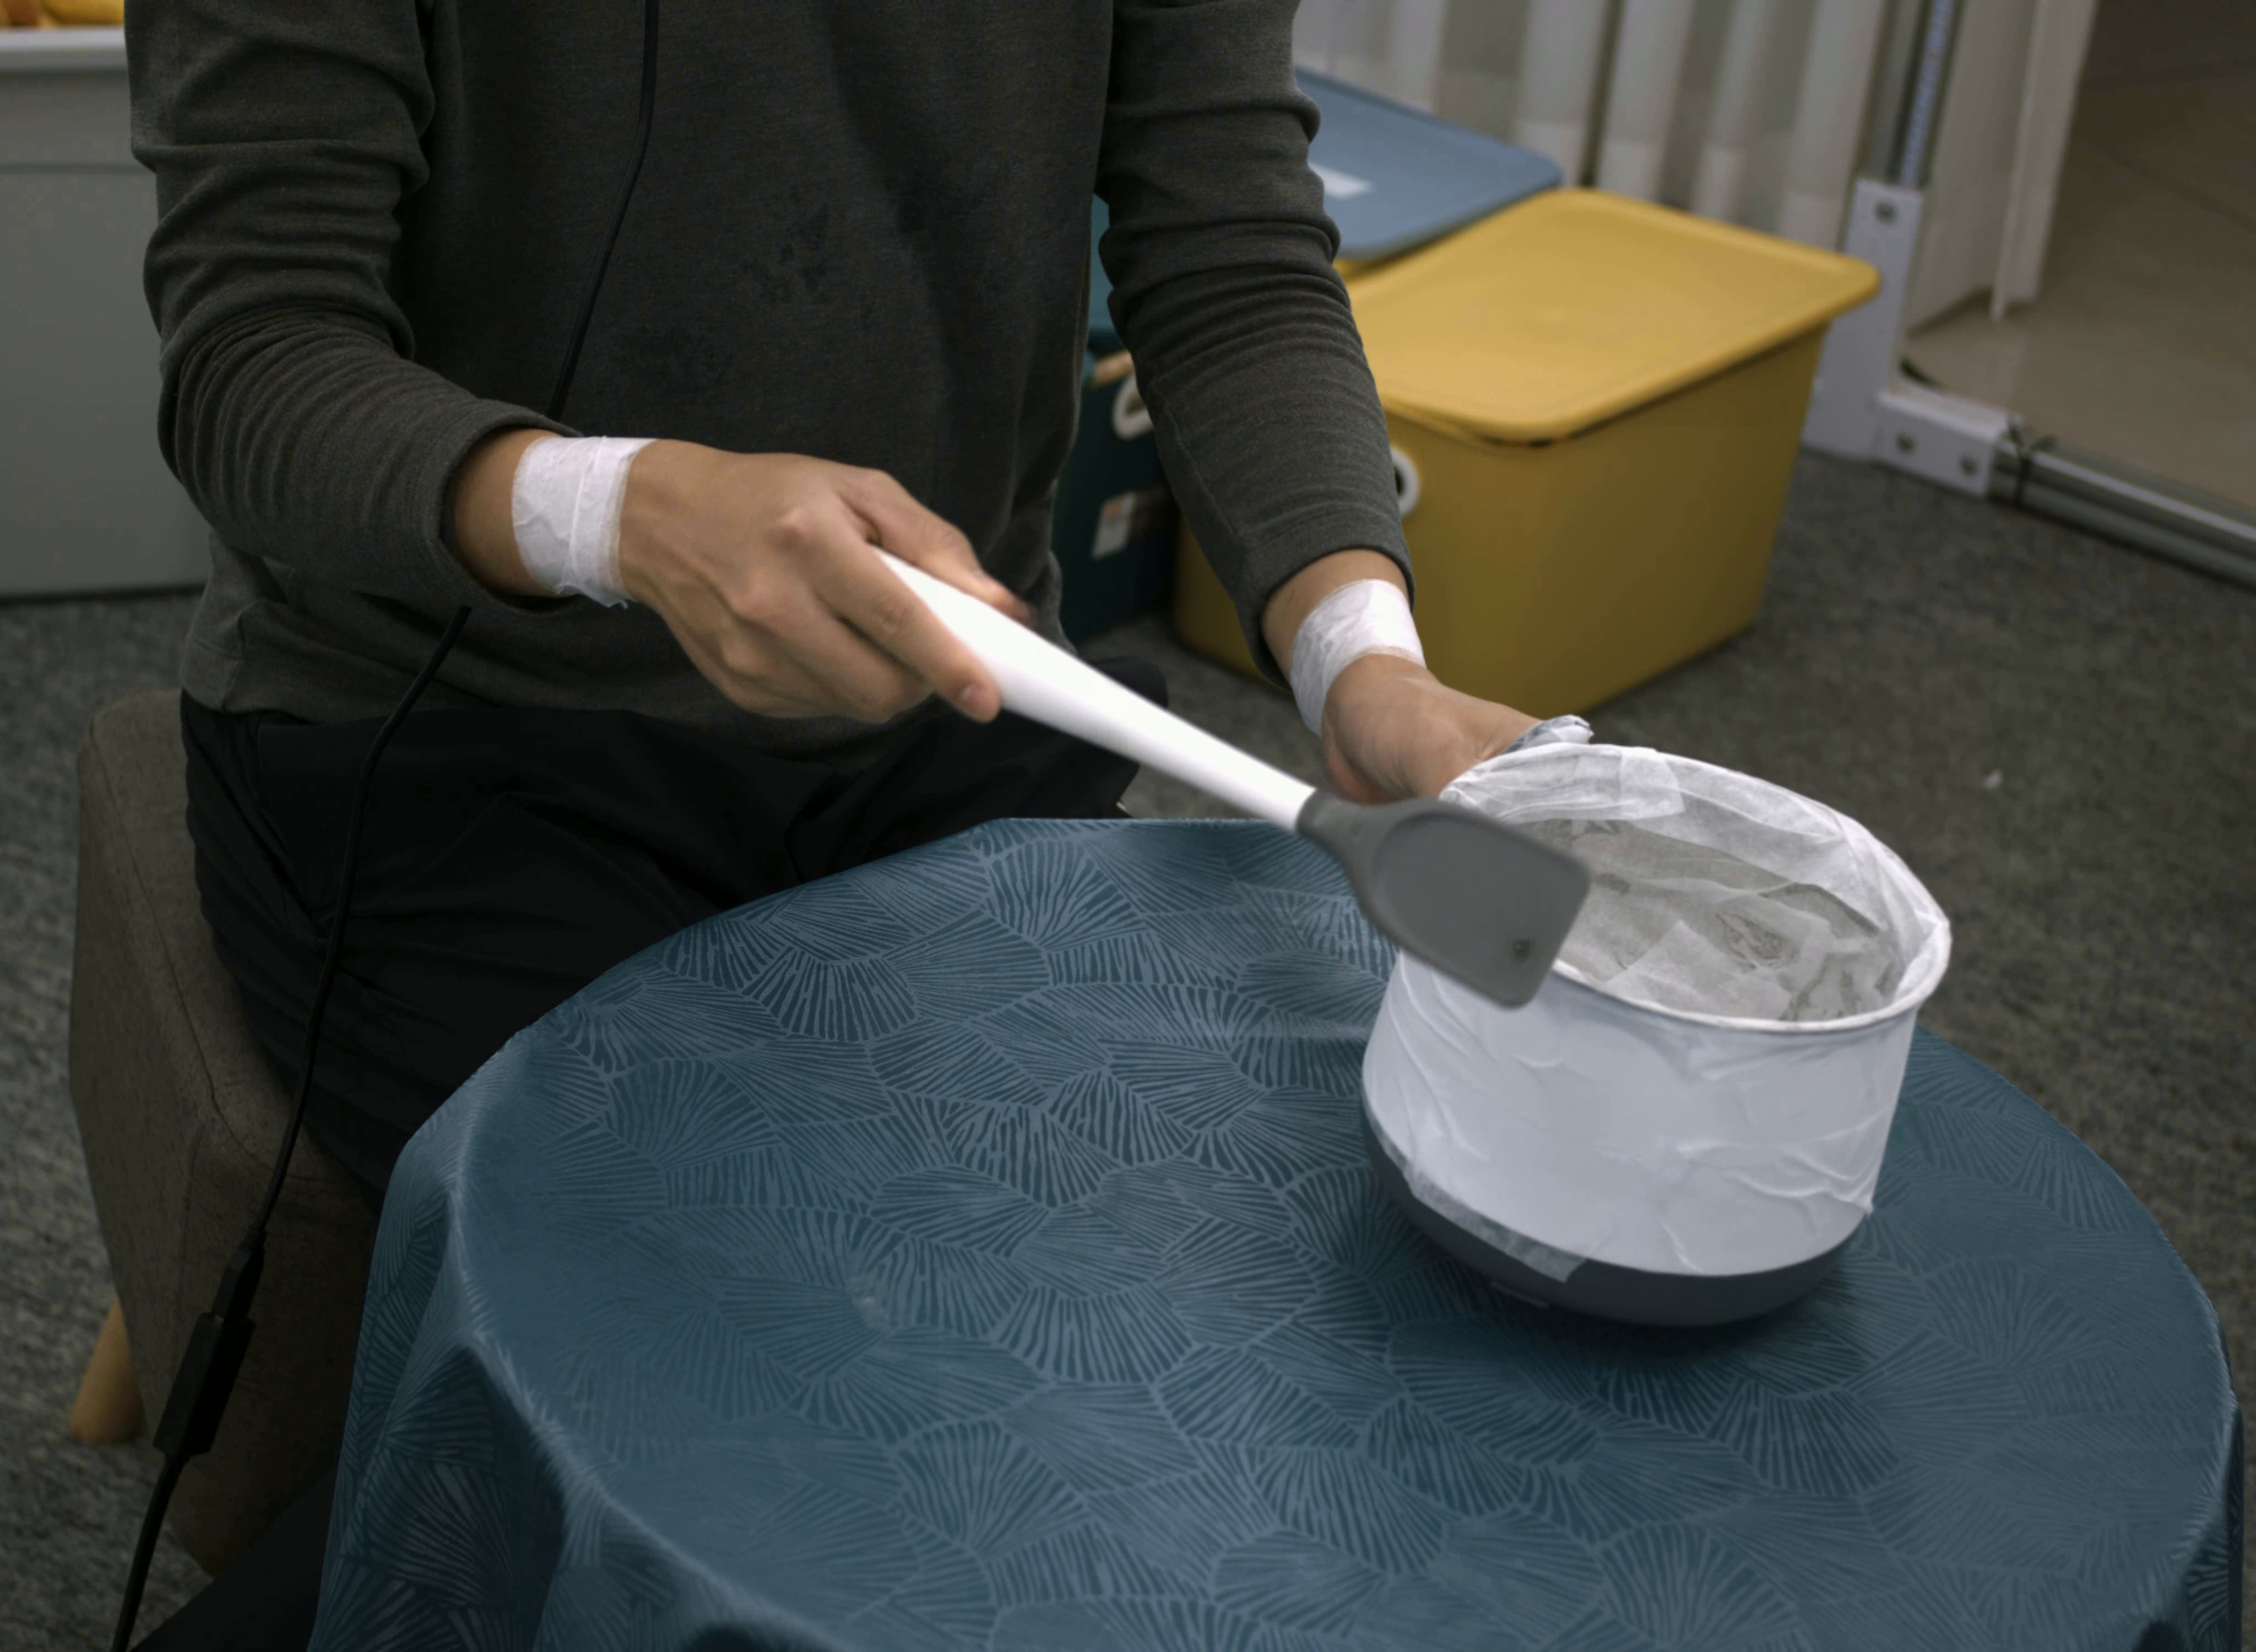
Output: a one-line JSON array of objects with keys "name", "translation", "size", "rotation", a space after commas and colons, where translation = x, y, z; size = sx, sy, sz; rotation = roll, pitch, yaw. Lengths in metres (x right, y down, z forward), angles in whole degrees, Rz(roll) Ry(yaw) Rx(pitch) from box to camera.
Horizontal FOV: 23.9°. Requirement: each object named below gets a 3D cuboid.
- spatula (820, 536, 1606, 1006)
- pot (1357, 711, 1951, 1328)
[{"name": "spatula", "translation": [0.025, -0.024, 1.685], "size": [0.289, 0.059, 0.032], "rotation": [26, -4, 26]}, {"name": "pot", "translation": [0.161, 0.057, 1.796], "size": [0.177, 0.136, 0.236], "rotation": [0, 31, -23]}]
